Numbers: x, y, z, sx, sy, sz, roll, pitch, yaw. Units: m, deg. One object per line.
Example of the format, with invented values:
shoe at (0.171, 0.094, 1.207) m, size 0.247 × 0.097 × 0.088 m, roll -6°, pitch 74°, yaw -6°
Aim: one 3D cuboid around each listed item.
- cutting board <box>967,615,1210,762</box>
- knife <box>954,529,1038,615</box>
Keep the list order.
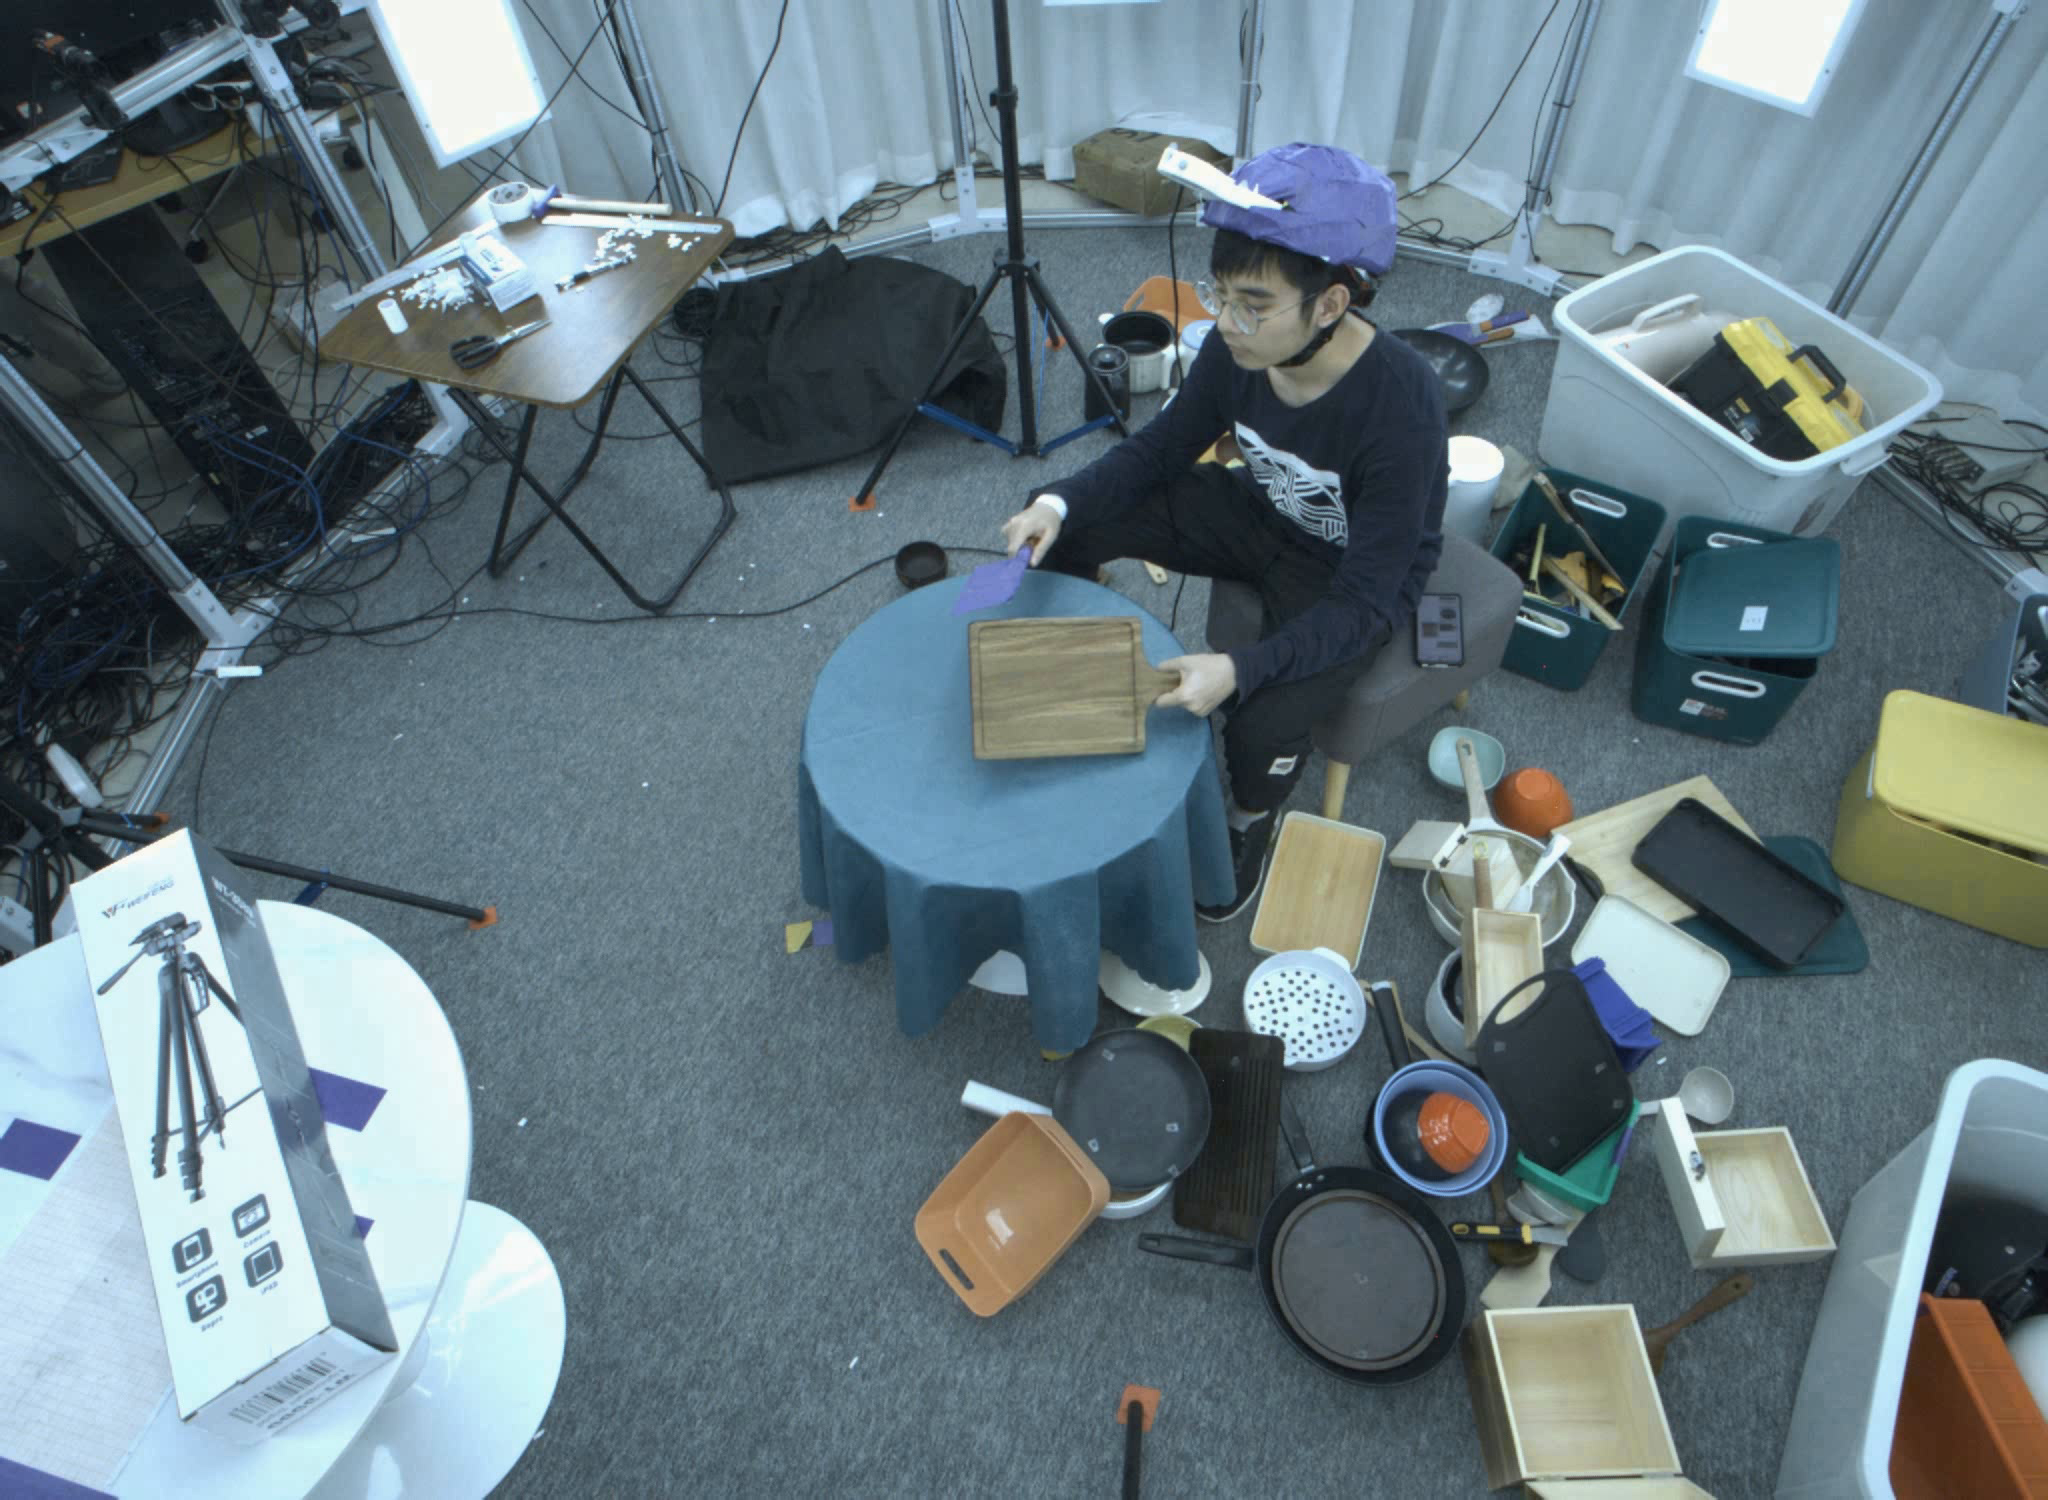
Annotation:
cutting board at (0.096, -0.091, 1.761) m, size 0.356 × 0.023 × 0.201 m, roll -3°, pitch 93°, yaw -14°
knife at (-0.042, -0.268, 1.822) m, size 0.103 × 0.032 × 0.314 m, roll -9°, pitch 24°, yaw 13°
